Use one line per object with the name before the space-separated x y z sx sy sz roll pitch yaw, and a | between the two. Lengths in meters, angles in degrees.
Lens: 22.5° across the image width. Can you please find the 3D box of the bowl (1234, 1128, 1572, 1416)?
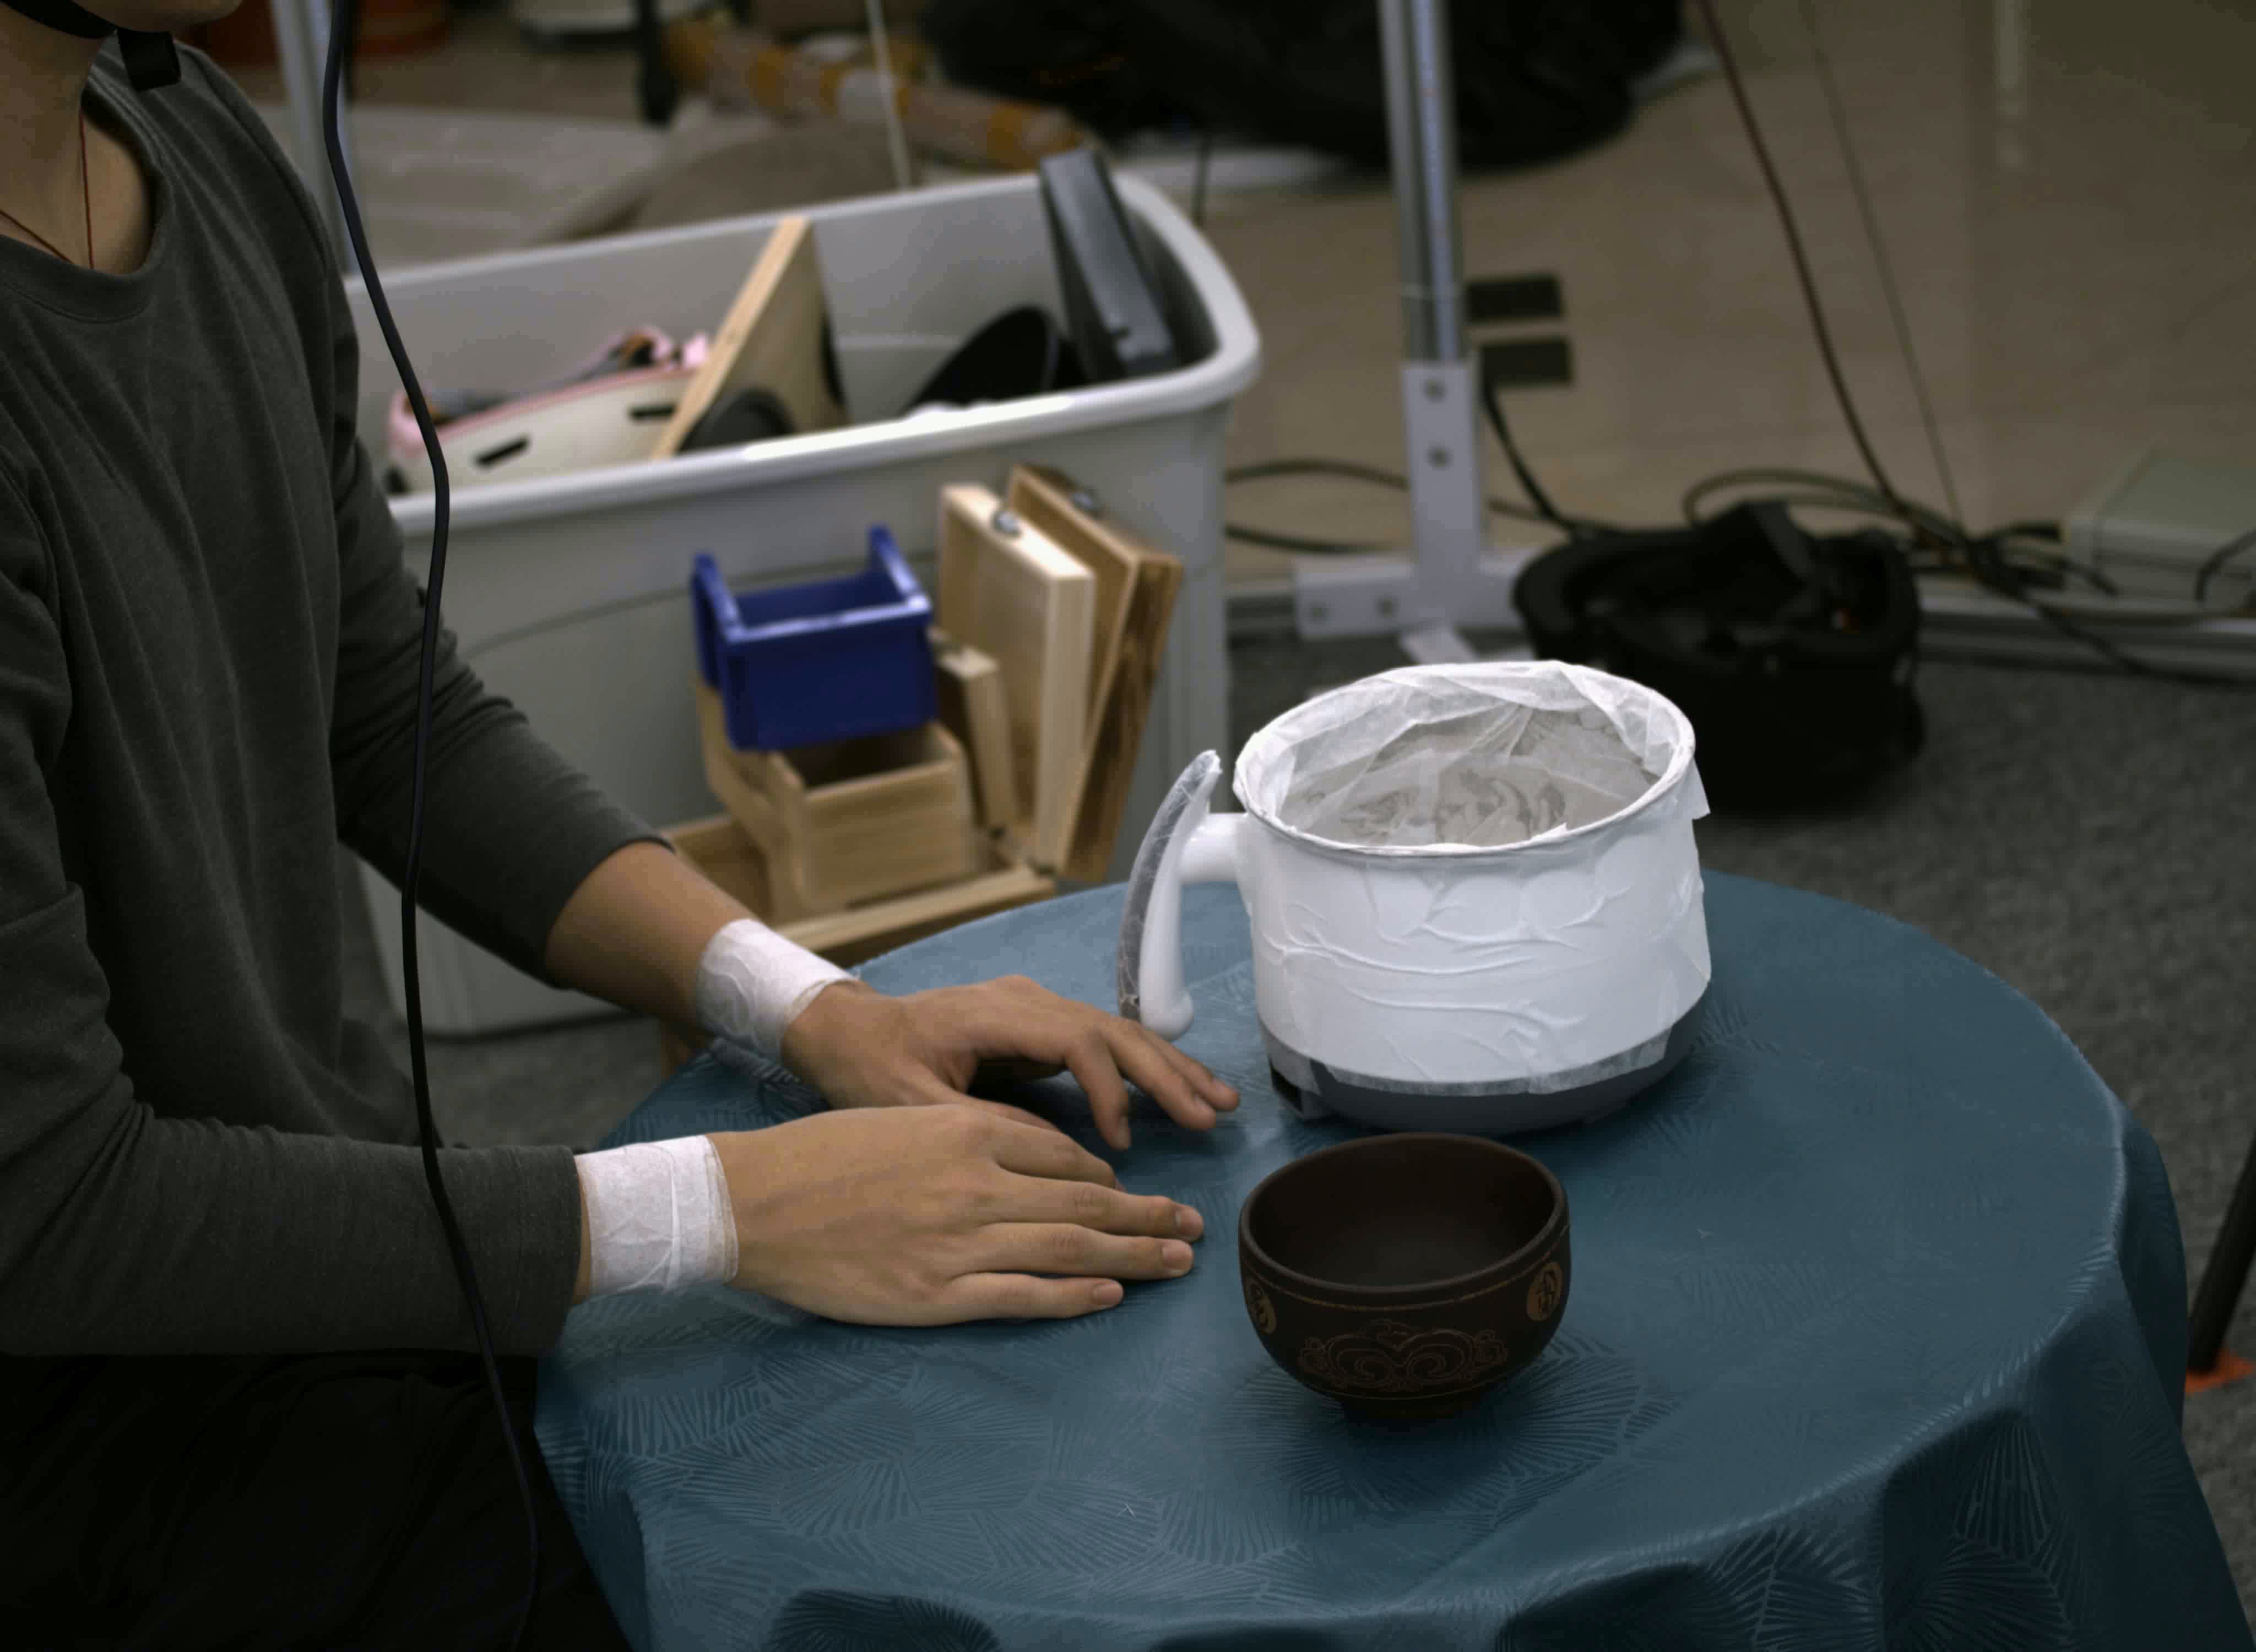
bowl | 0.098 0.163 1.989 0.118 0.071 0.116 -7 25 4

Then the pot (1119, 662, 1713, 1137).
pot | 0.108 0.031 2.193 0.233 0.139 0.176 -3 25 9
